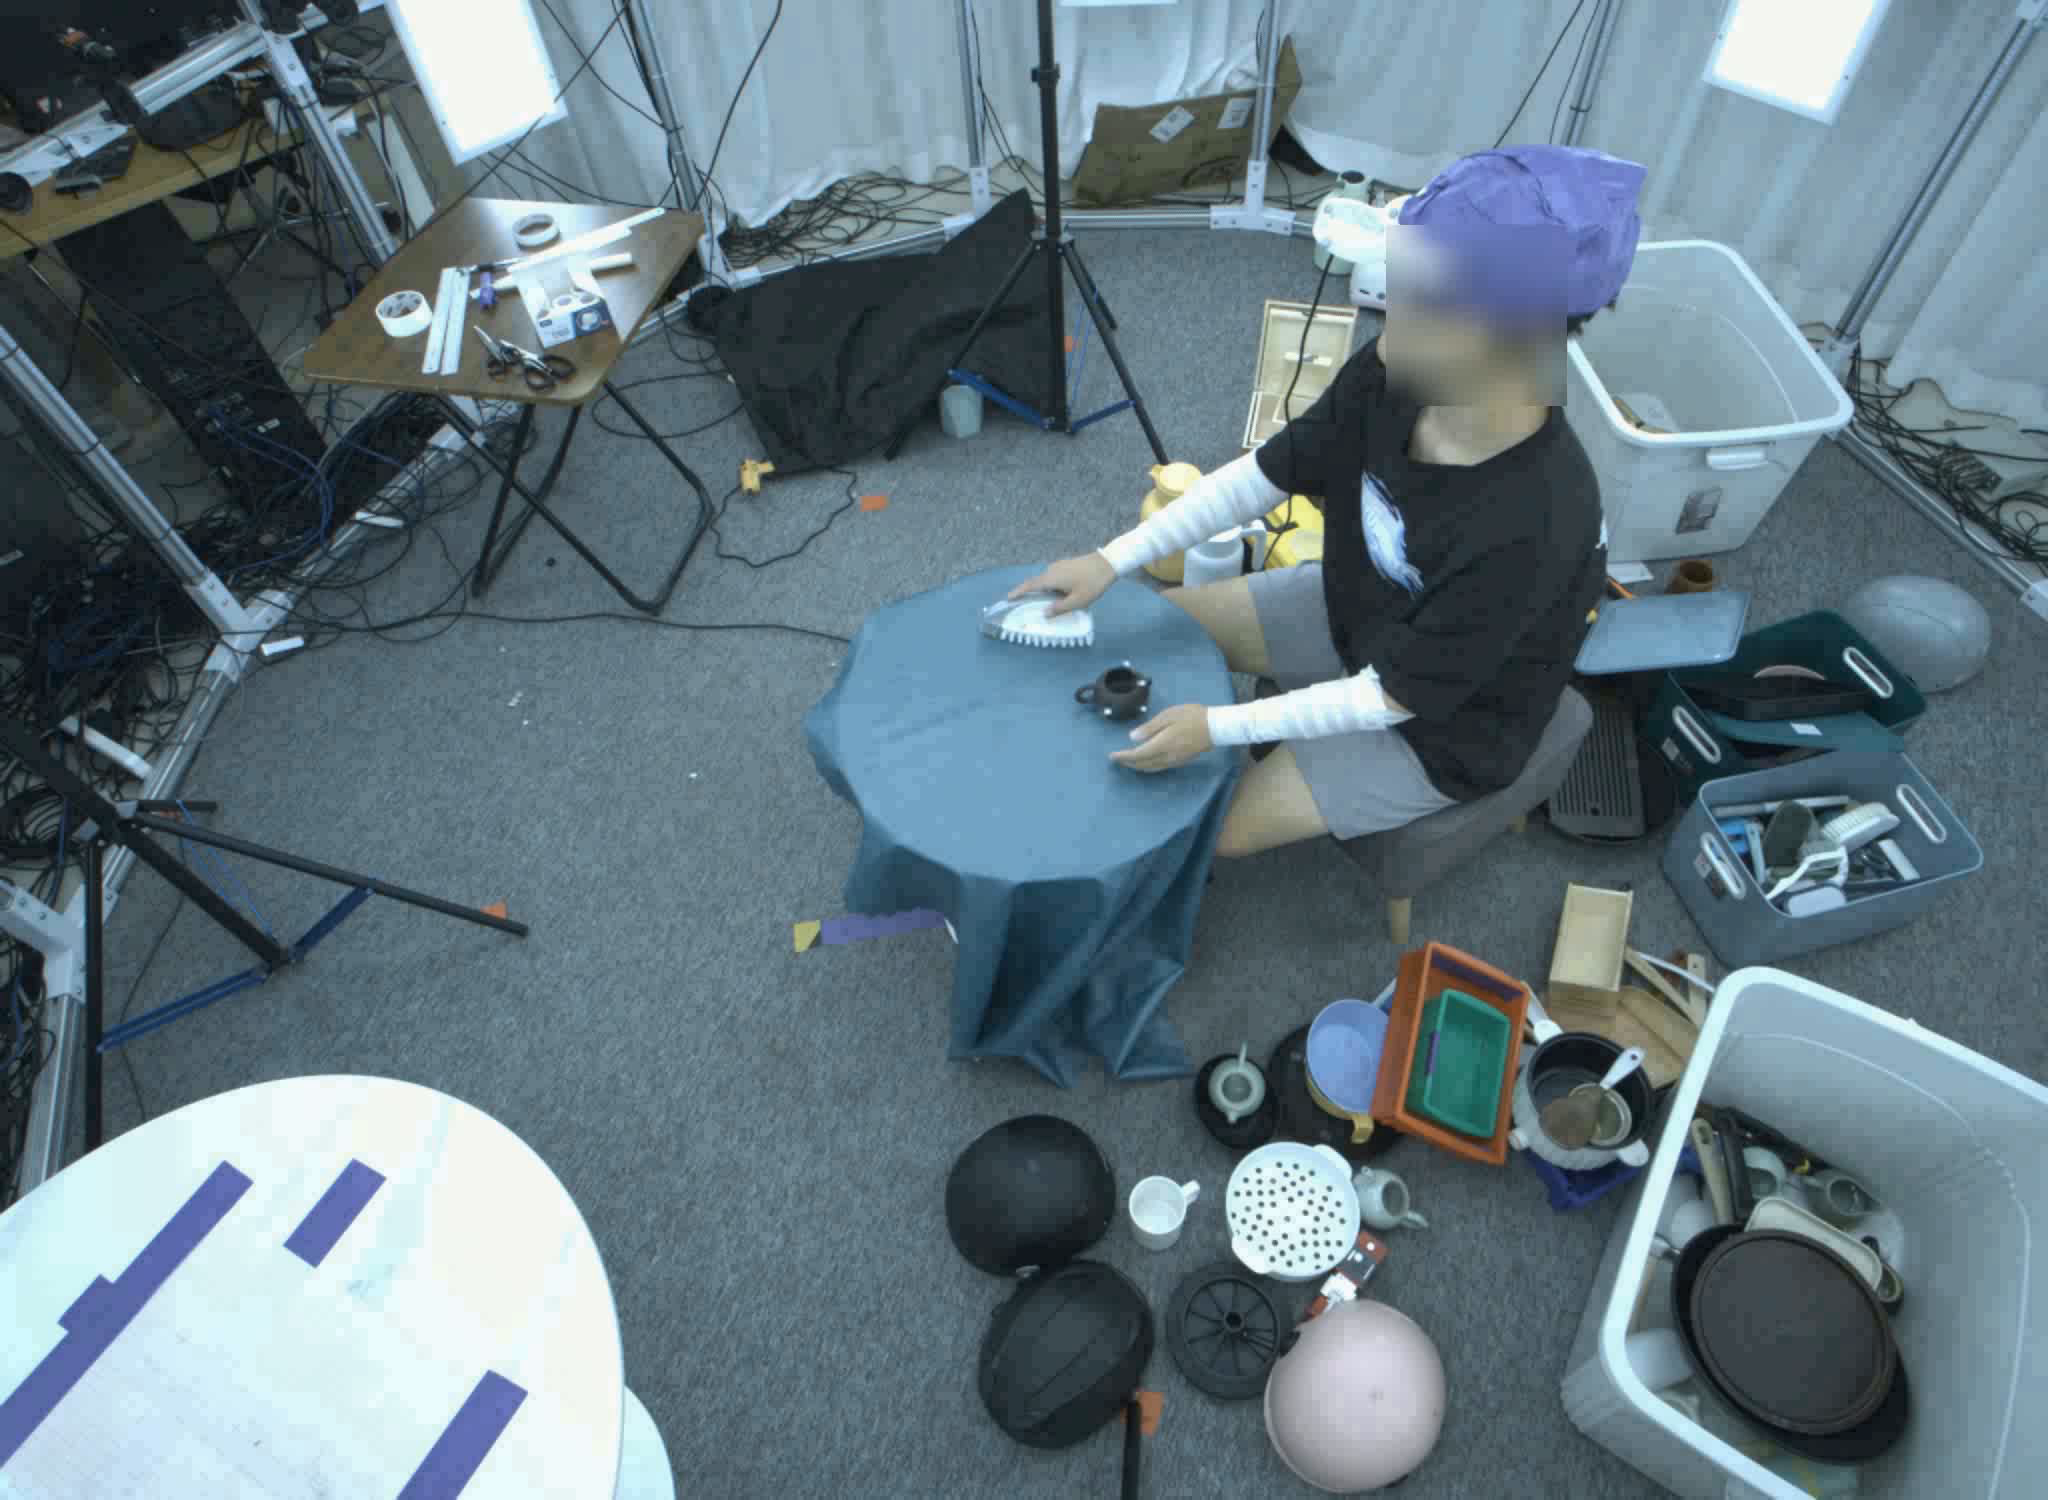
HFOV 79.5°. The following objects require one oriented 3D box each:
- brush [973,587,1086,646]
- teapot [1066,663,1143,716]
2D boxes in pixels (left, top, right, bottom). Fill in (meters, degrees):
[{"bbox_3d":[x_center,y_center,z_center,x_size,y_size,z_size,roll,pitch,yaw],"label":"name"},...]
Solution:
[{"bbox_3d":[0.005,-0.206,1.869,0.175,0.095,0.061,3,51,6],"label":"brush"},{"bbox_3d":[0.118,-0.089,1.807,0.114,0.053,0.082,-5,55,-4],"label":"teapot"}]
